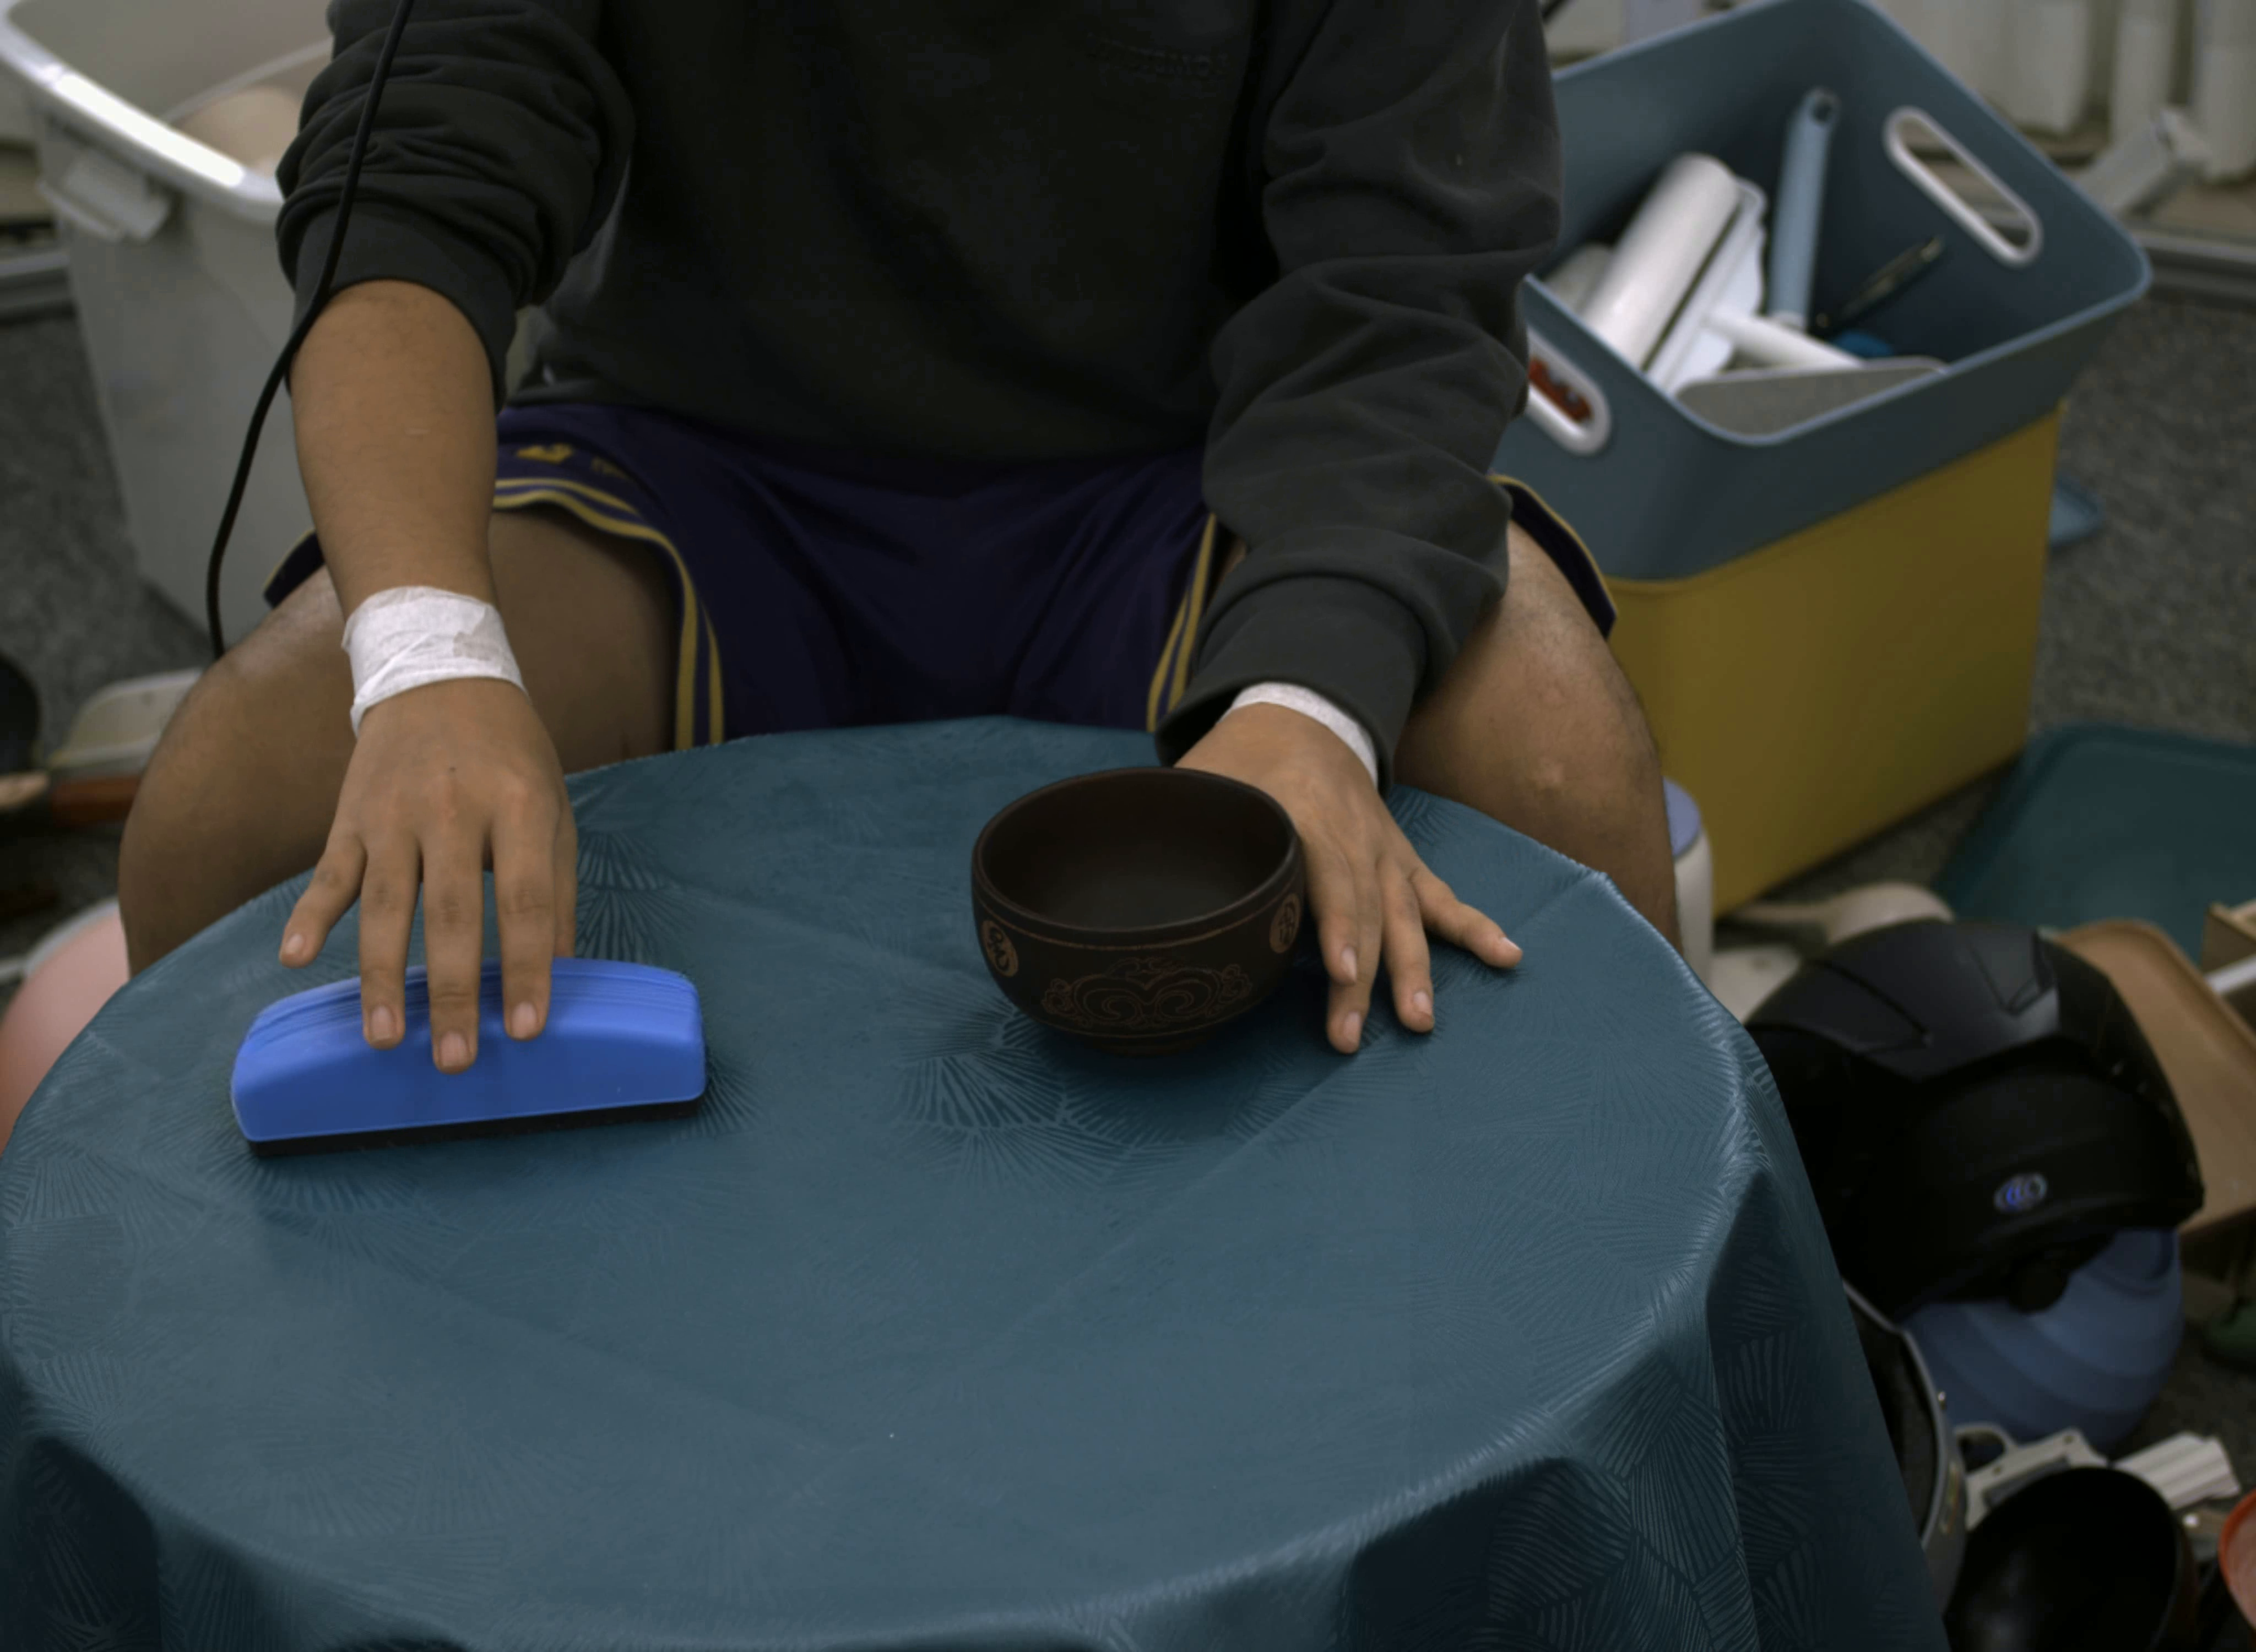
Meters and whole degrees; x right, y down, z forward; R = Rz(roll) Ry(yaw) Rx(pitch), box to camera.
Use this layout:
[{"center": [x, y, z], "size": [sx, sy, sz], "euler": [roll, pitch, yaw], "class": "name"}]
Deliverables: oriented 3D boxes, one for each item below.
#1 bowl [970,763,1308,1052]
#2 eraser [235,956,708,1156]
[{"center": [0.005, 0.035, 1.949], "size": [0.117, 0.069, 0.120], "euler": [-4, 27, 2], "class": "bowl"}, {"center": [-0.225, 0.076, 1.923], "size": [0.162, 0.047, 0.054], "euler": [-5, 30, -6], "class": "eraser"}]
